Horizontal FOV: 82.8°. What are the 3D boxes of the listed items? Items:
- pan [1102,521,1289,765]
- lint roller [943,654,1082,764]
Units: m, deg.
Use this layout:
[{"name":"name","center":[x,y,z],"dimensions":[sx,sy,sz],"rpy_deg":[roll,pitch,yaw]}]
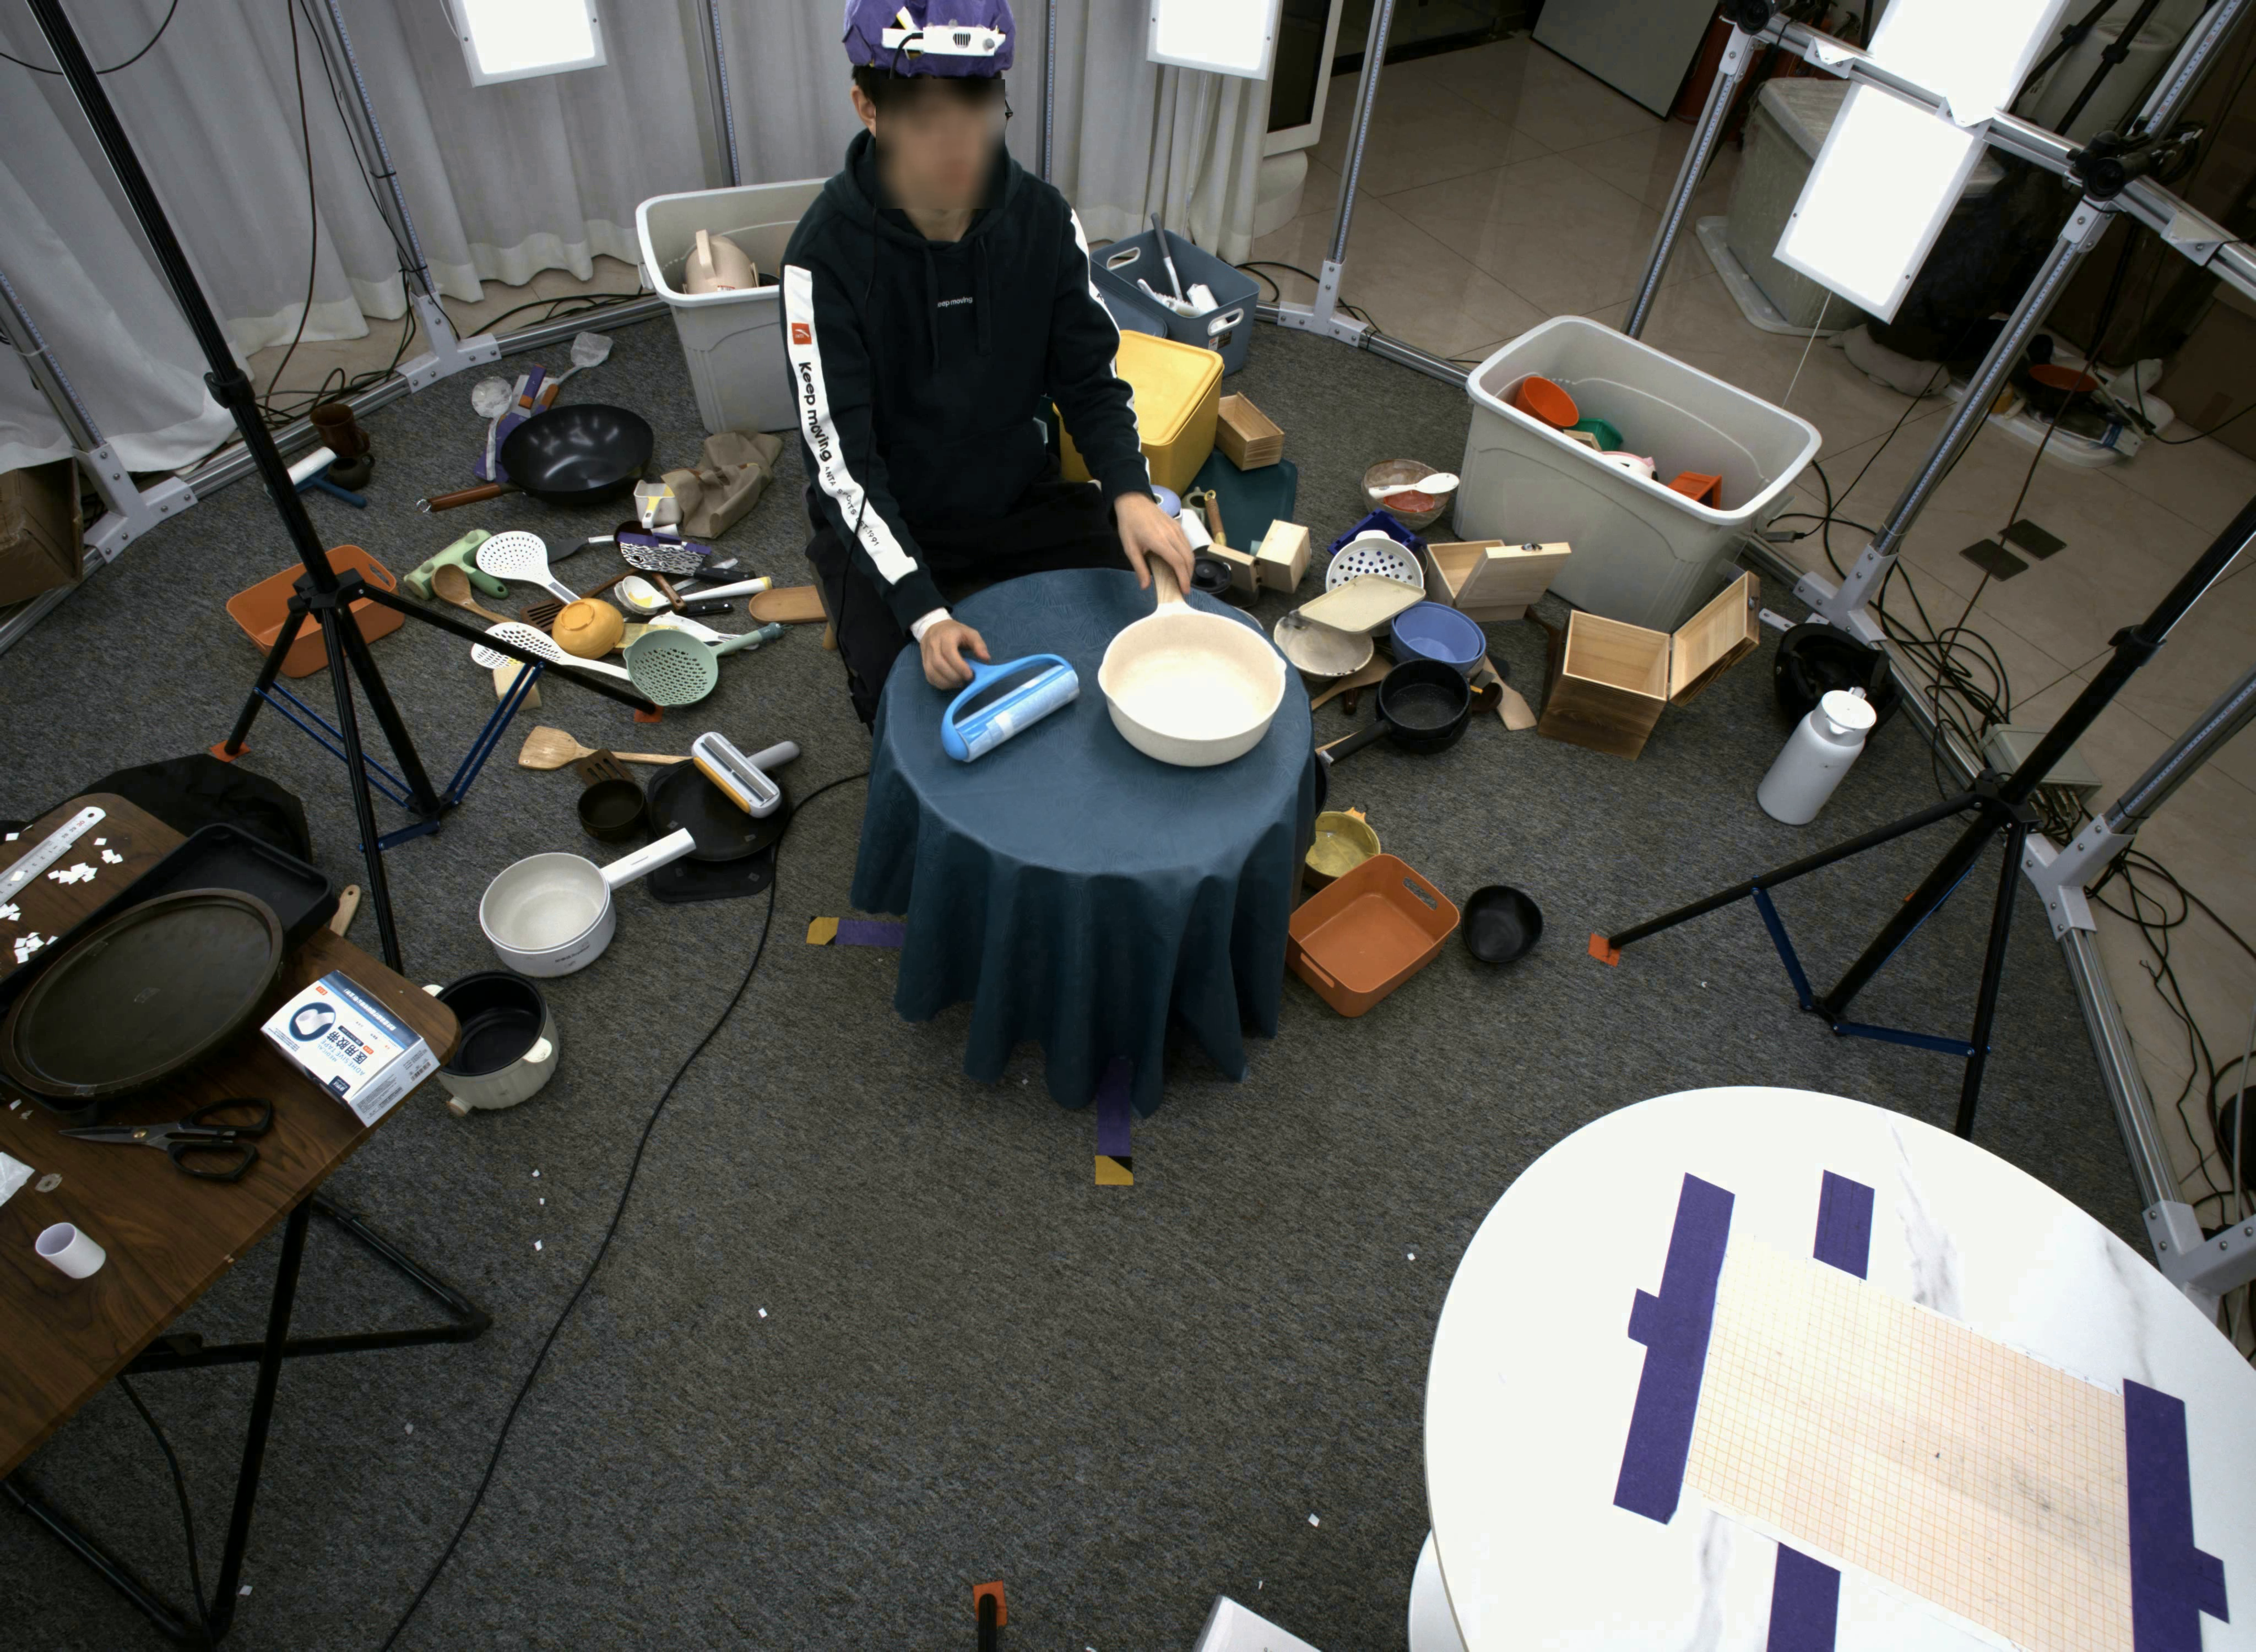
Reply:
[{"name":"pan","center":[0.073,-0.262,1.834],"dimensions":[0.263,0.099,0.446],"rpy_deg":[-8,50,-9]},{"name":"lint roller","center":[-0.196,-0.189,1.783],"dimensions":[0.183,0.066,0.231],"rpy_deg":[38,58,25]}]
